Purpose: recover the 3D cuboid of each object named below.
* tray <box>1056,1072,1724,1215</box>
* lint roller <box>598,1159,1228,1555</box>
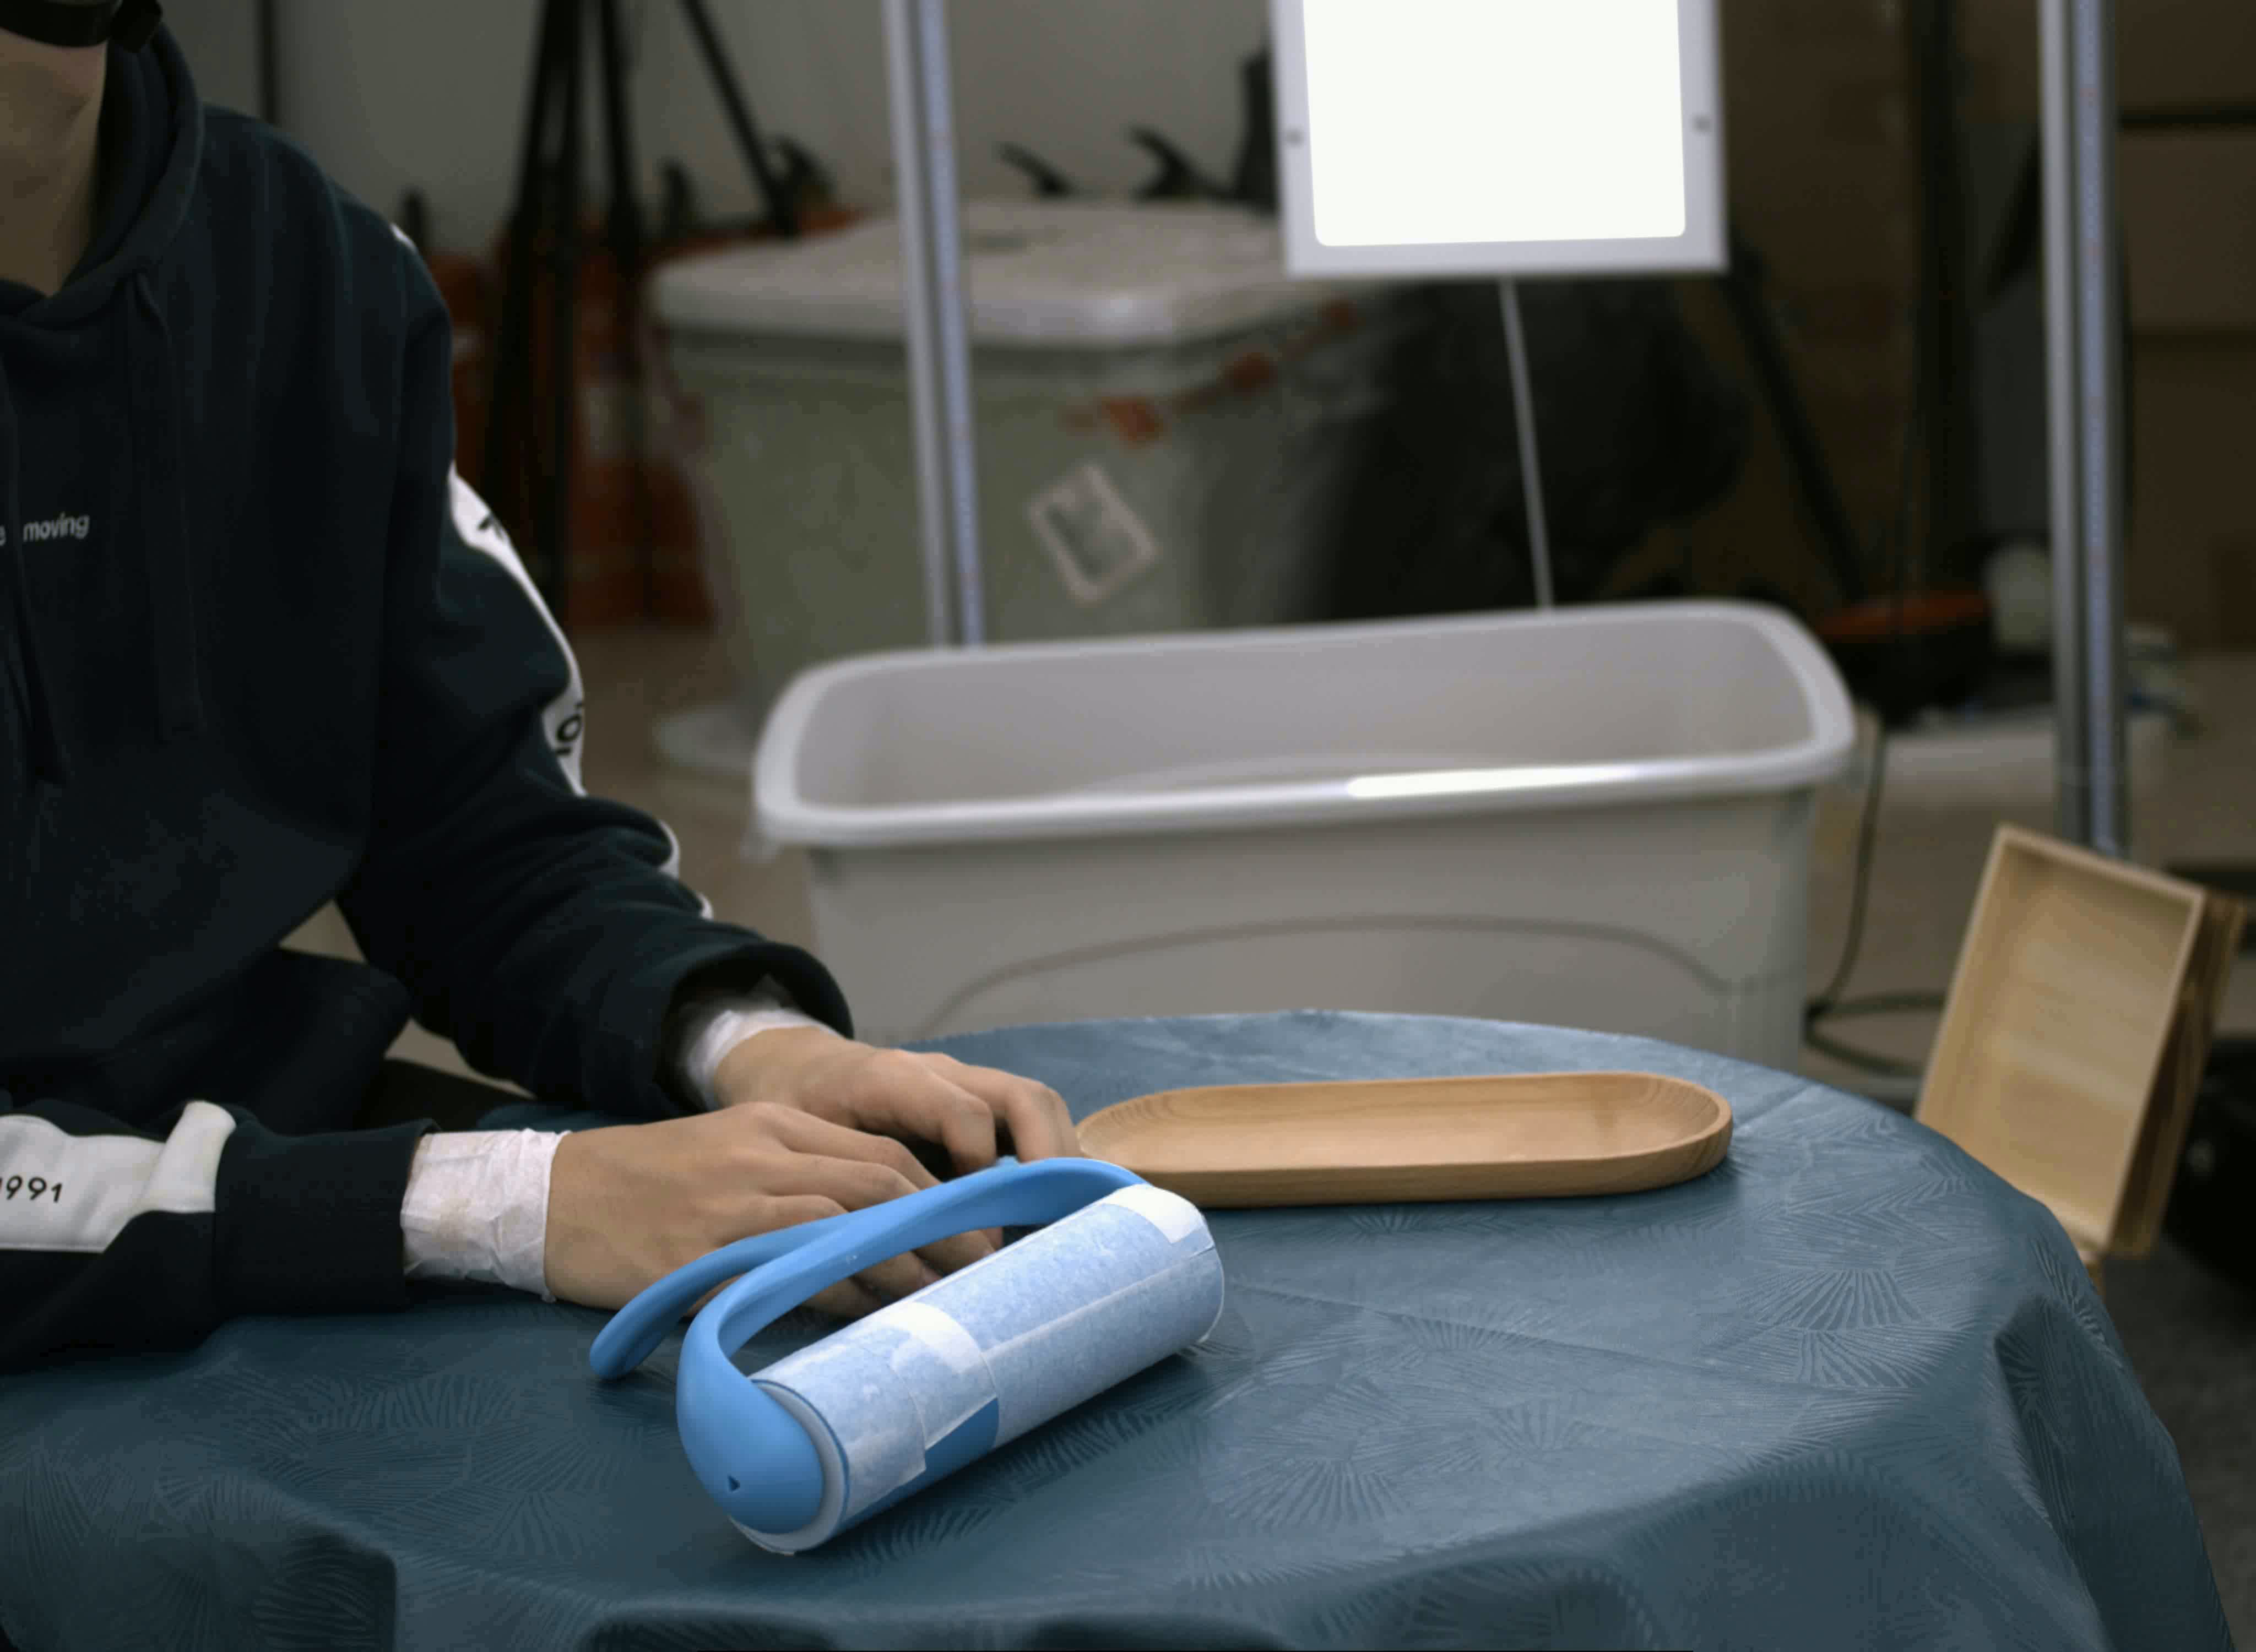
[{"bbox_3d":[0.090,0.110,1.895,0.232,0.020,0.101,-5,13,9],"label":"tray"},{"bbox_3d":[-0.094,0.155,1.692,0.184,0.068,0.223,6,19,34],"label":"lint roller"}]
